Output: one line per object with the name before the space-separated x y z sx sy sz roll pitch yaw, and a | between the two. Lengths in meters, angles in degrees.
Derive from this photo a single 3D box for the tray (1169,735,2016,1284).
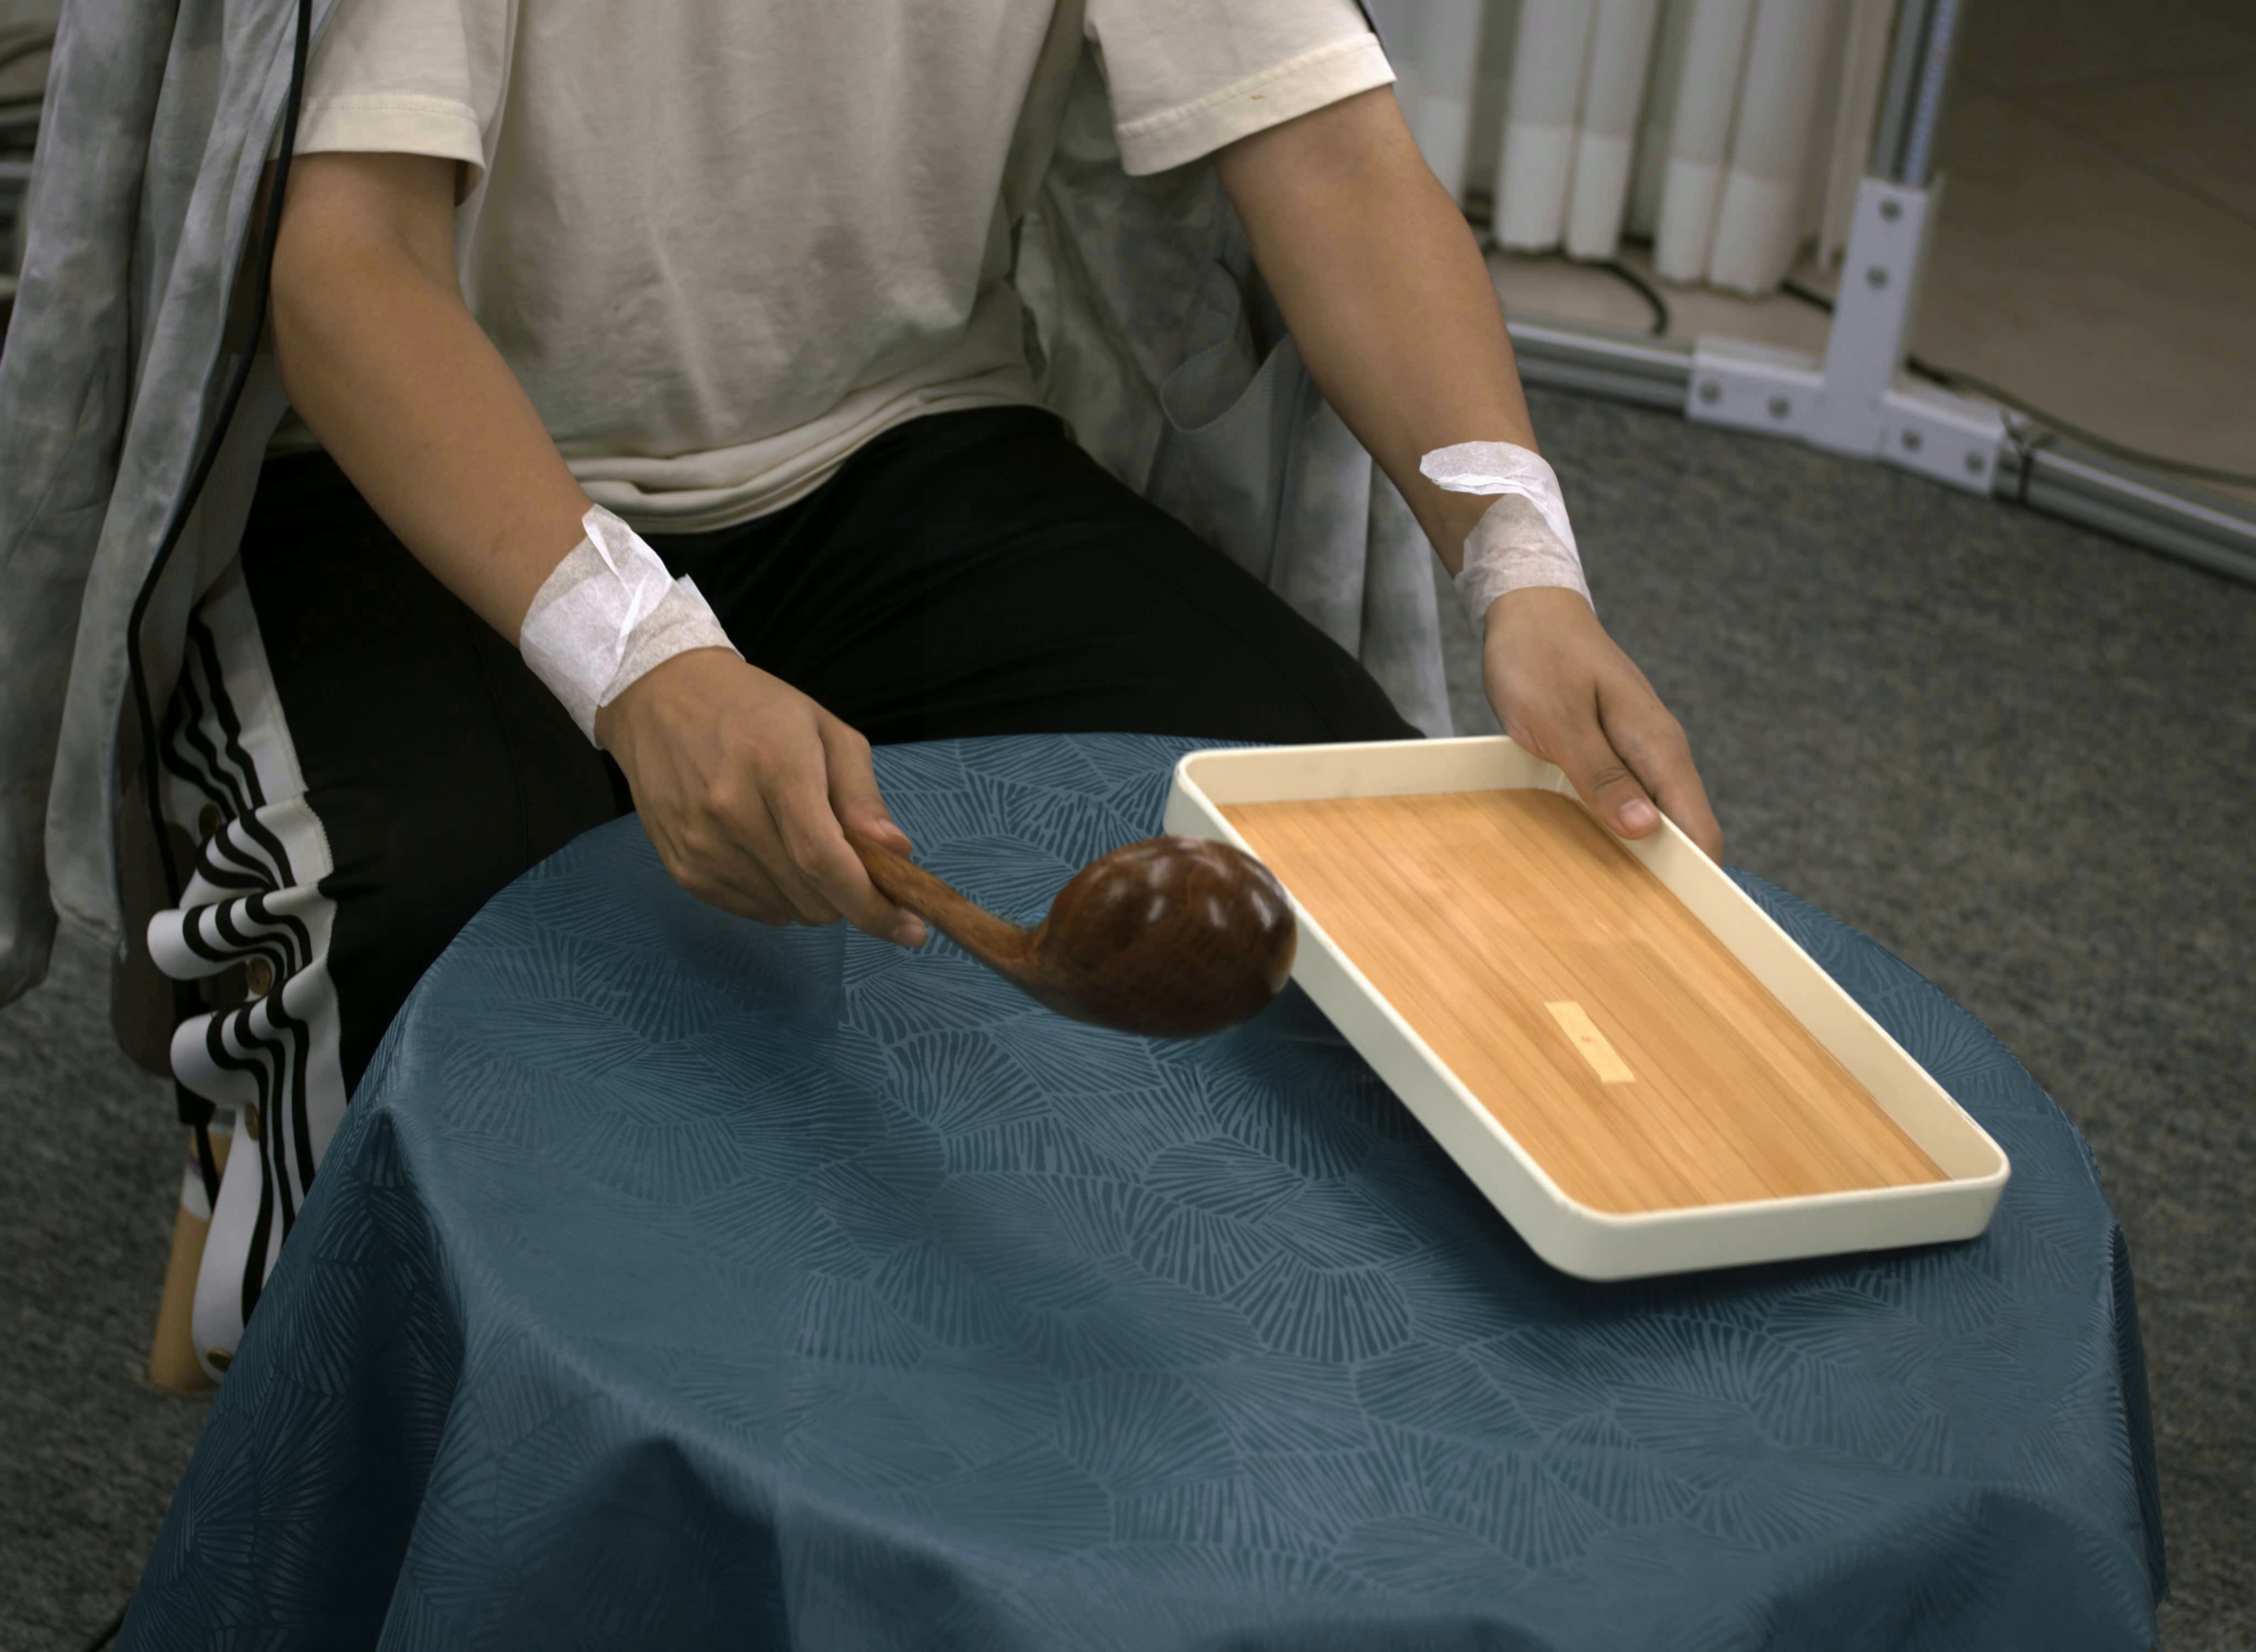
tray | 0.159 0.059 1.886 0.190 0.027 0.303 -4 33 -30

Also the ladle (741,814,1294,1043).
ladle | -0.042 0.012 1.811 0.076 0.081 0.276 -45 32 -13
